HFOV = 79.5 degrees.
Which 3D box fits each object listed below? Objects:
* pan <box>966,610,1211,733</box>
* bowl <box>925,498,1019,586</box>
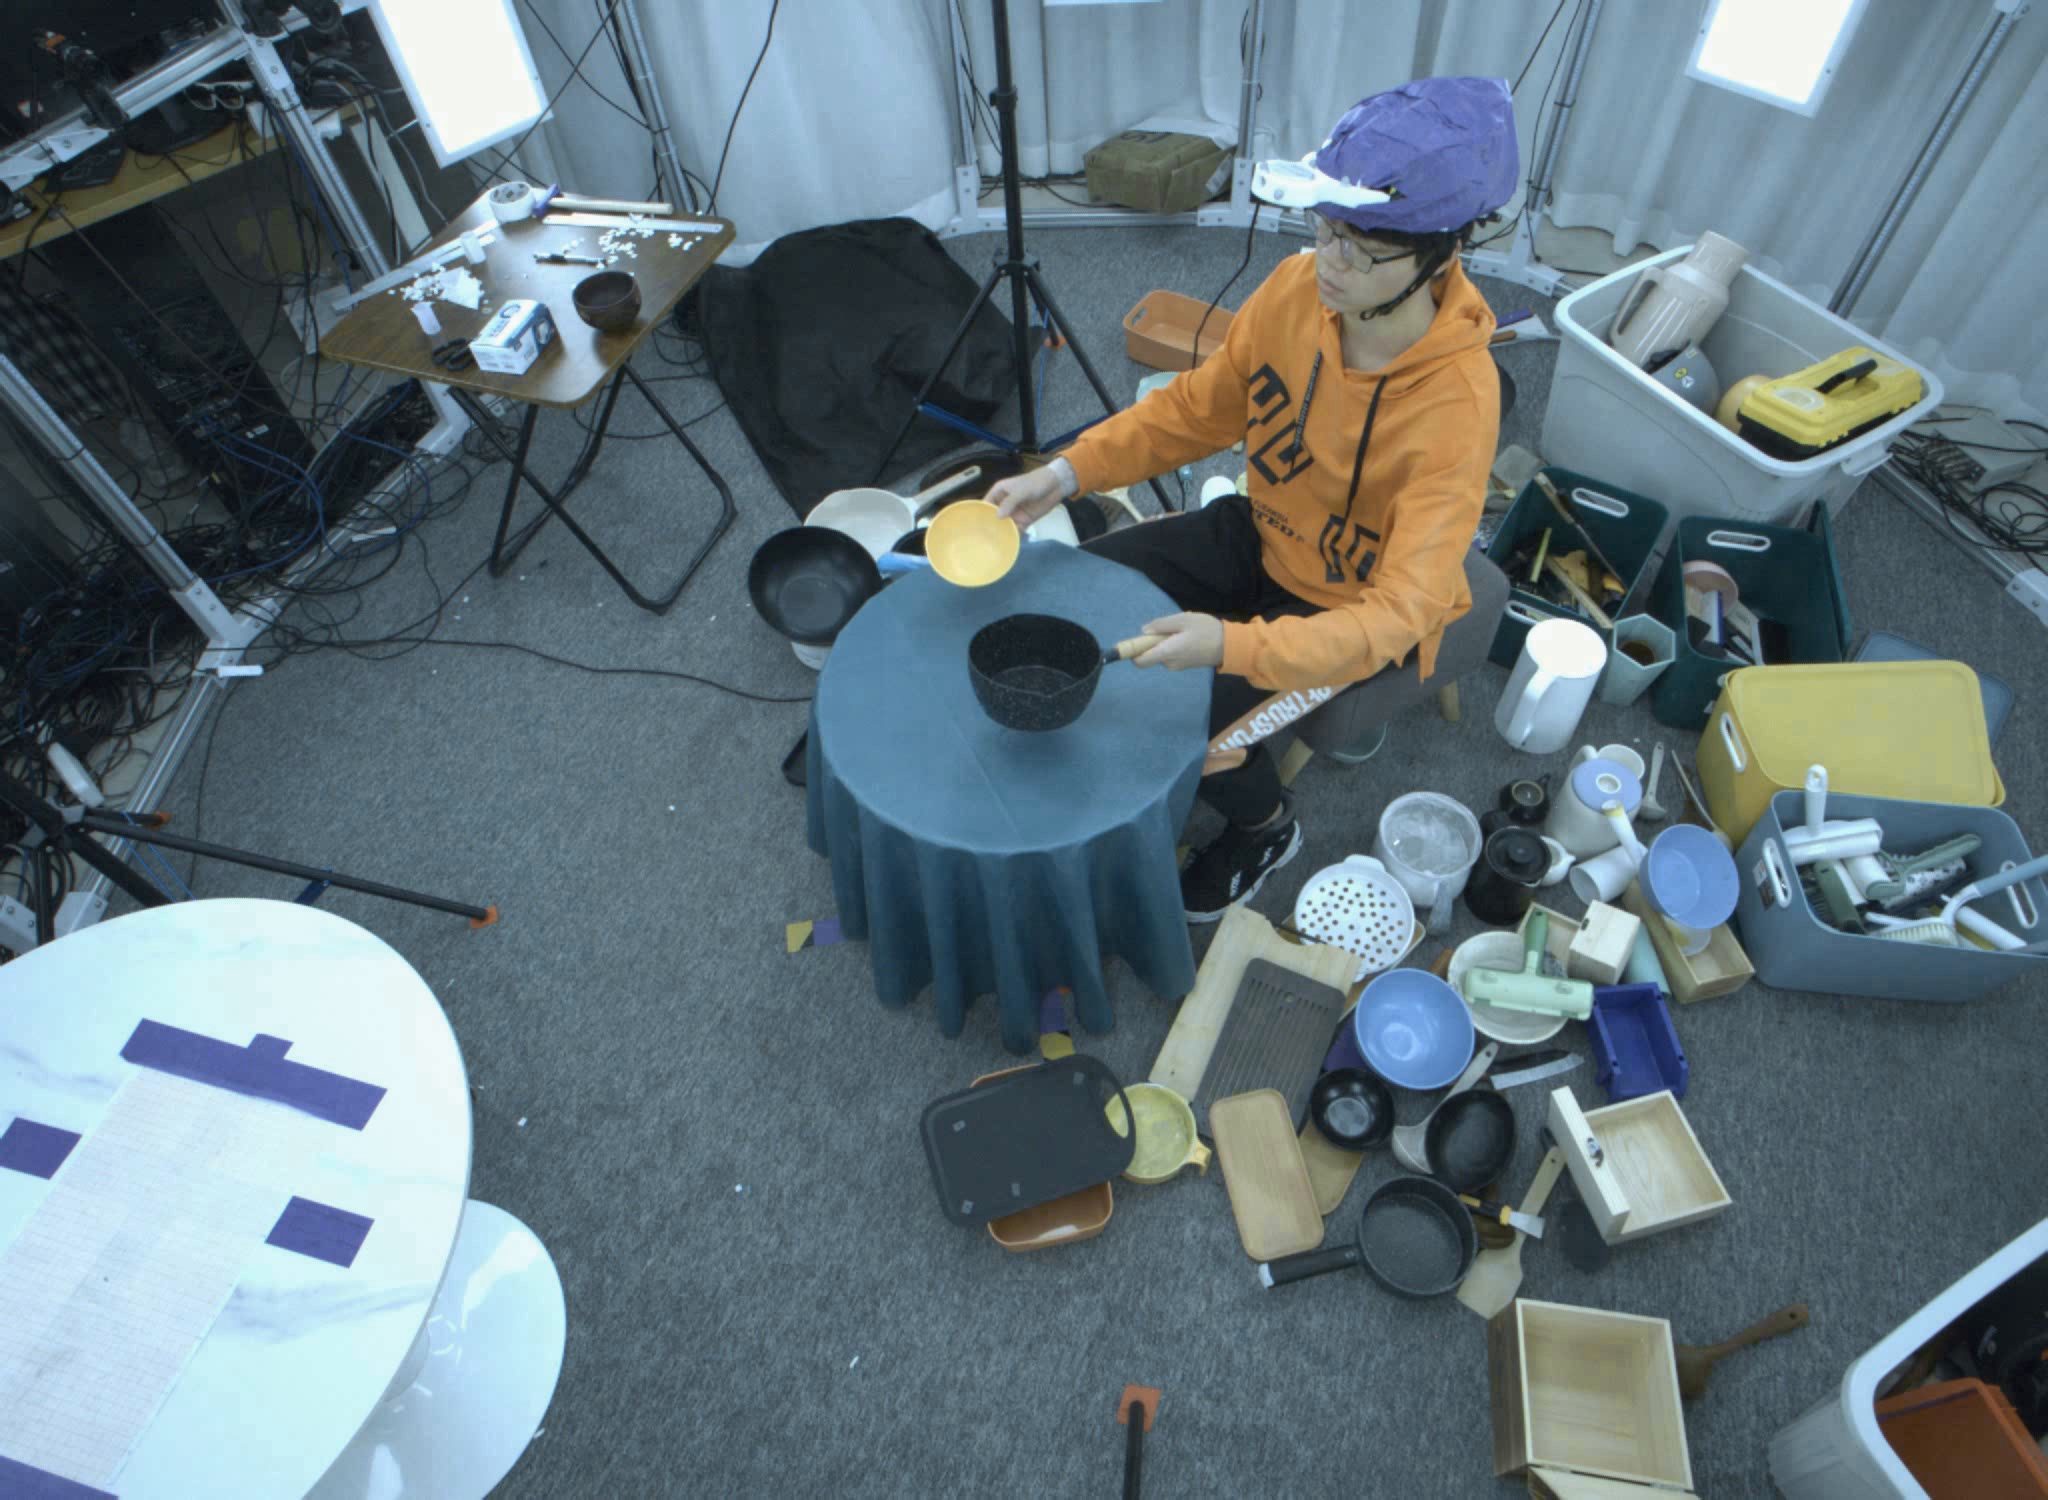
[{"bbox_3d":[0.091,-0.121,1.711,0.345,0.109,0.204,-8,41,-11],"label":"pan"},{"bbox_3d":[-0.081,-0.310,1.883,0.146,0.060,0.144,1,76,-4],"label":"bowl"}]
